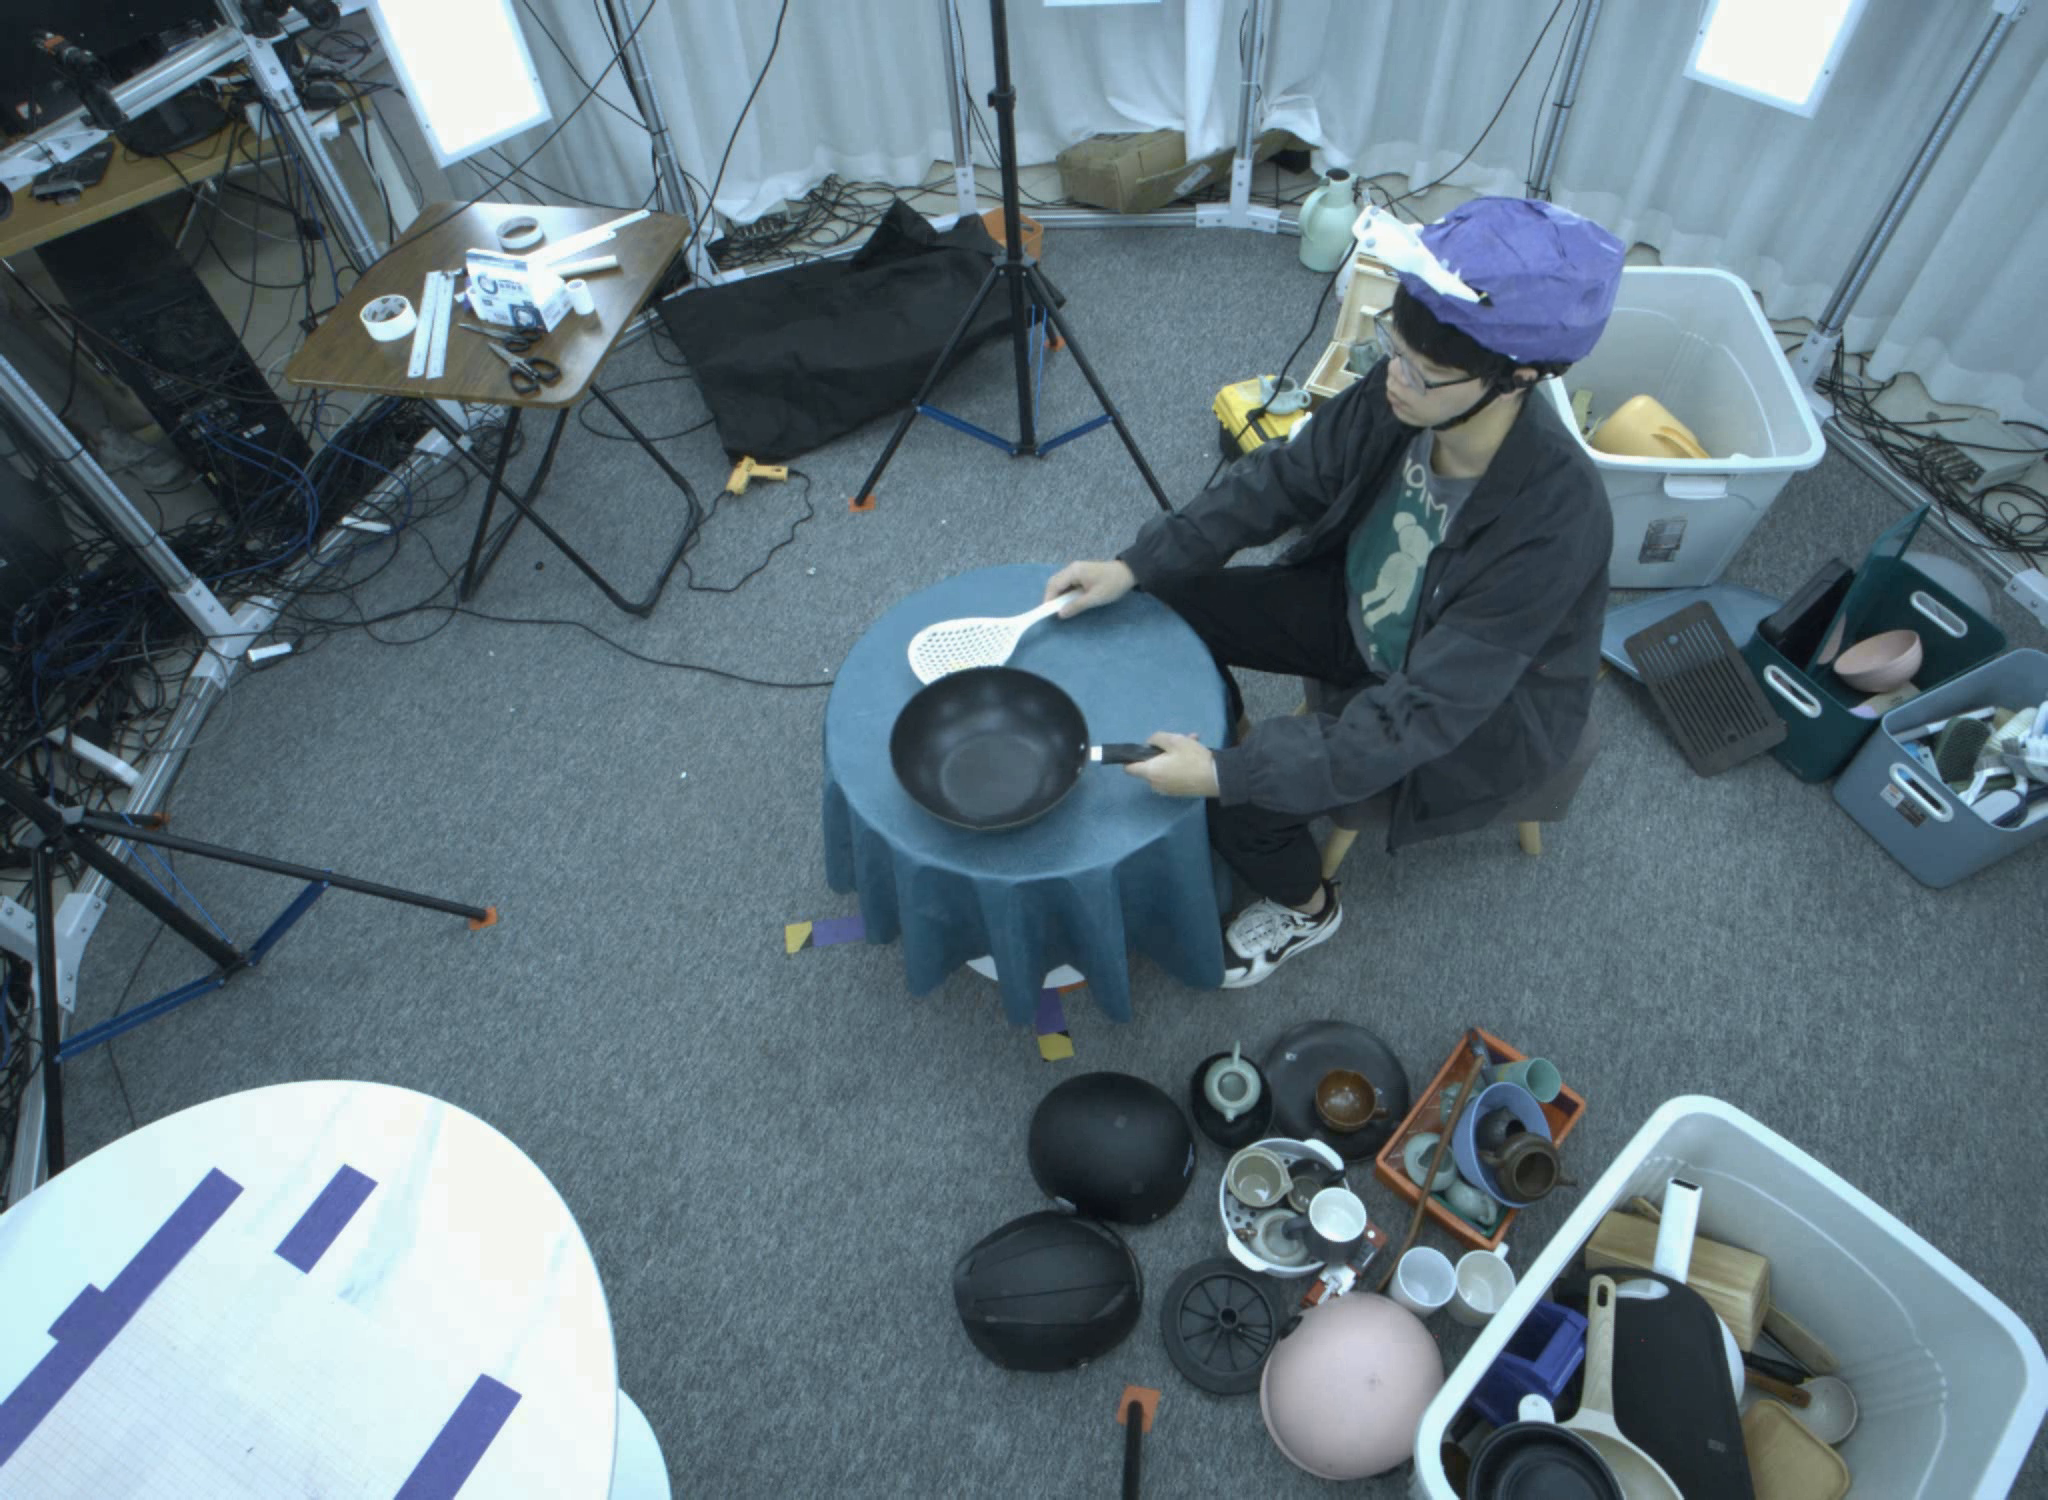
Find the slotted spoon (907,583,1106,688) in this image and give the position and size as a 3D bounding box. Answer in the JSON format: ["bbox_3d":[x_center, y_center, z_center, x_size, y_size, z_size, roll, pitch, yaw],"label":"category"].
[{"bbox_3d":[-0.015,-0.186,1.884,0.350,0.051,0.134,-30,61,-17],"label":"slotted spoon"}]

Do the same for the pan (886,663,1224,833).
[{"bbox_3d":[0.043,0.016,1.715,0.463,0.087,0.285,4,54,2],"label":"pan"}]
